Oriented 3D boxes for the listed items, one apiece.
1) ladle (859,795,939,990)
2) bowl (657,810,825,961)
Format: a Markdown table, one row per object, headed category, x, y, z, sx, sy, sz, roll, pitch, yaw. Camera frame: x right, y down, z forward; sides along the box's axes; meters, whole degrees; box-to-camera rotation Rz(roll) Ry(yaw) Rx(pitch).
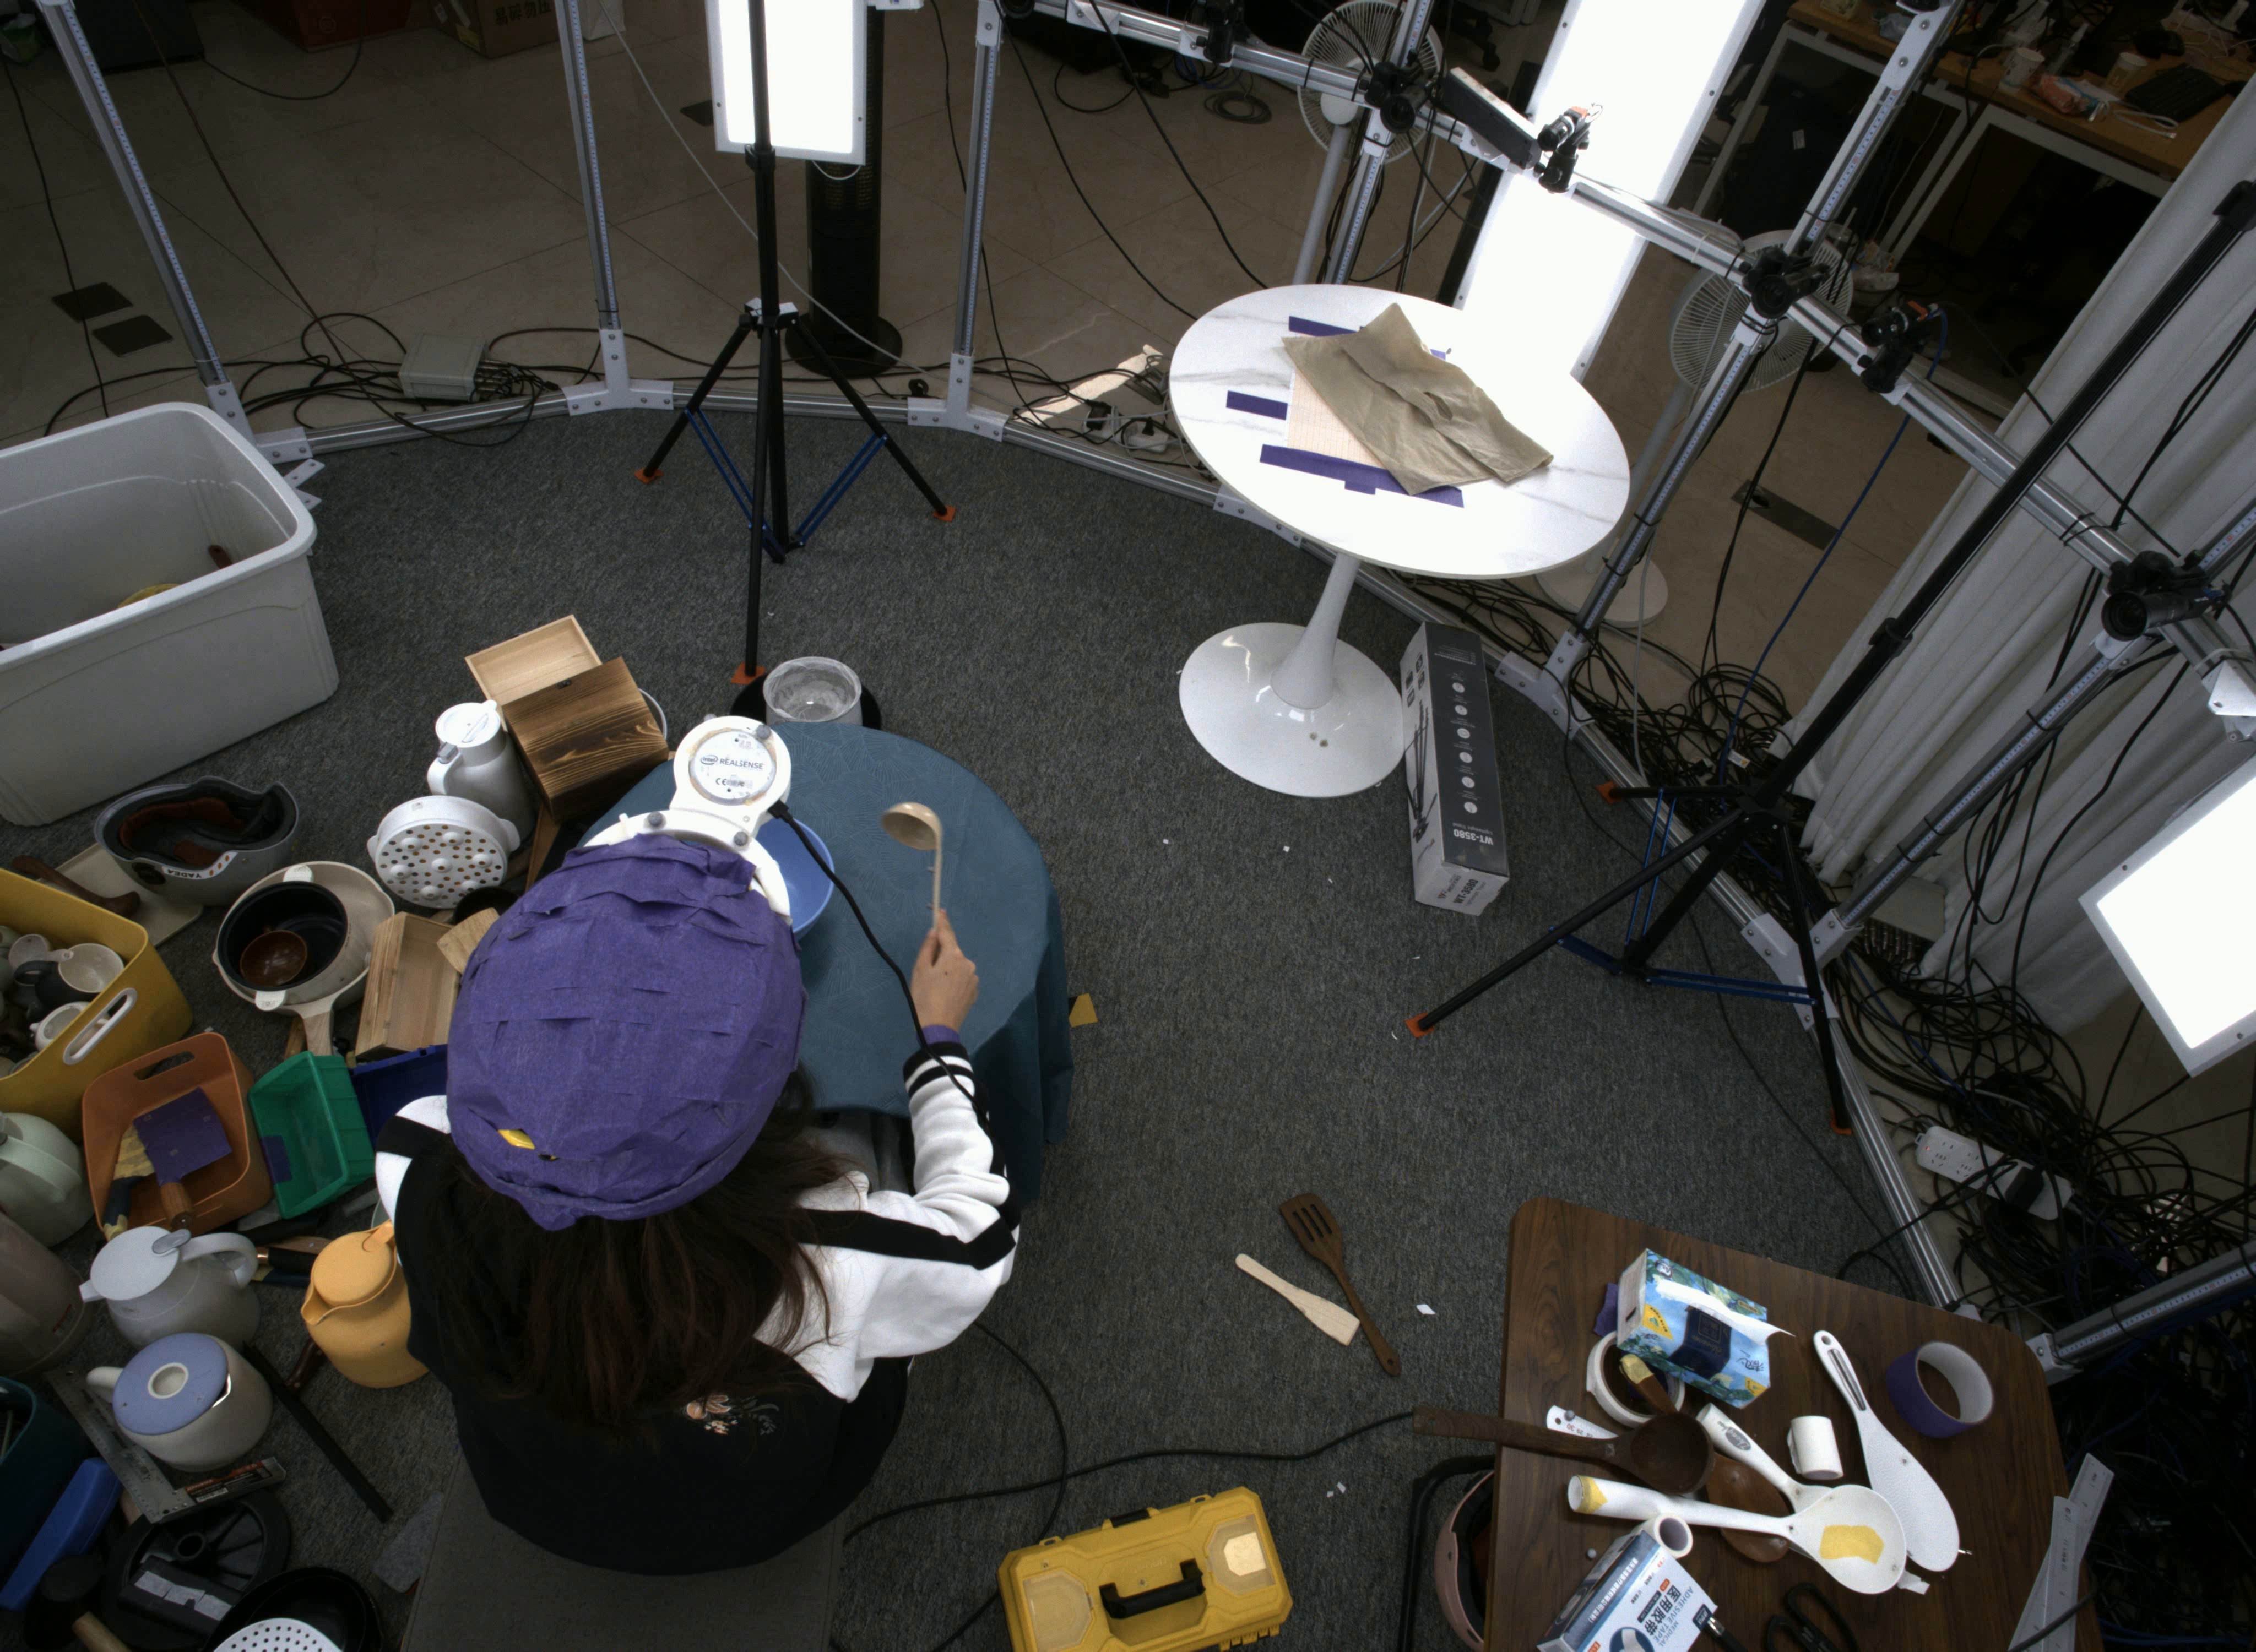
| category | x | y | z | sx | sy | sz | roll | pitch | yaw |
| --- | --- | --- | --- | --- | --- | --- | --- | --- | --- |
| ladle | -0.261 | 0.074 | 1.471 | 0.073 | 0.073 | 0.248 | 2 | 53 | -19 |
| bowl | -0.474 | 0.087 | 1.580 | 0.197 | 0.097 | 0.193 | 12 | 52 | -14 |
